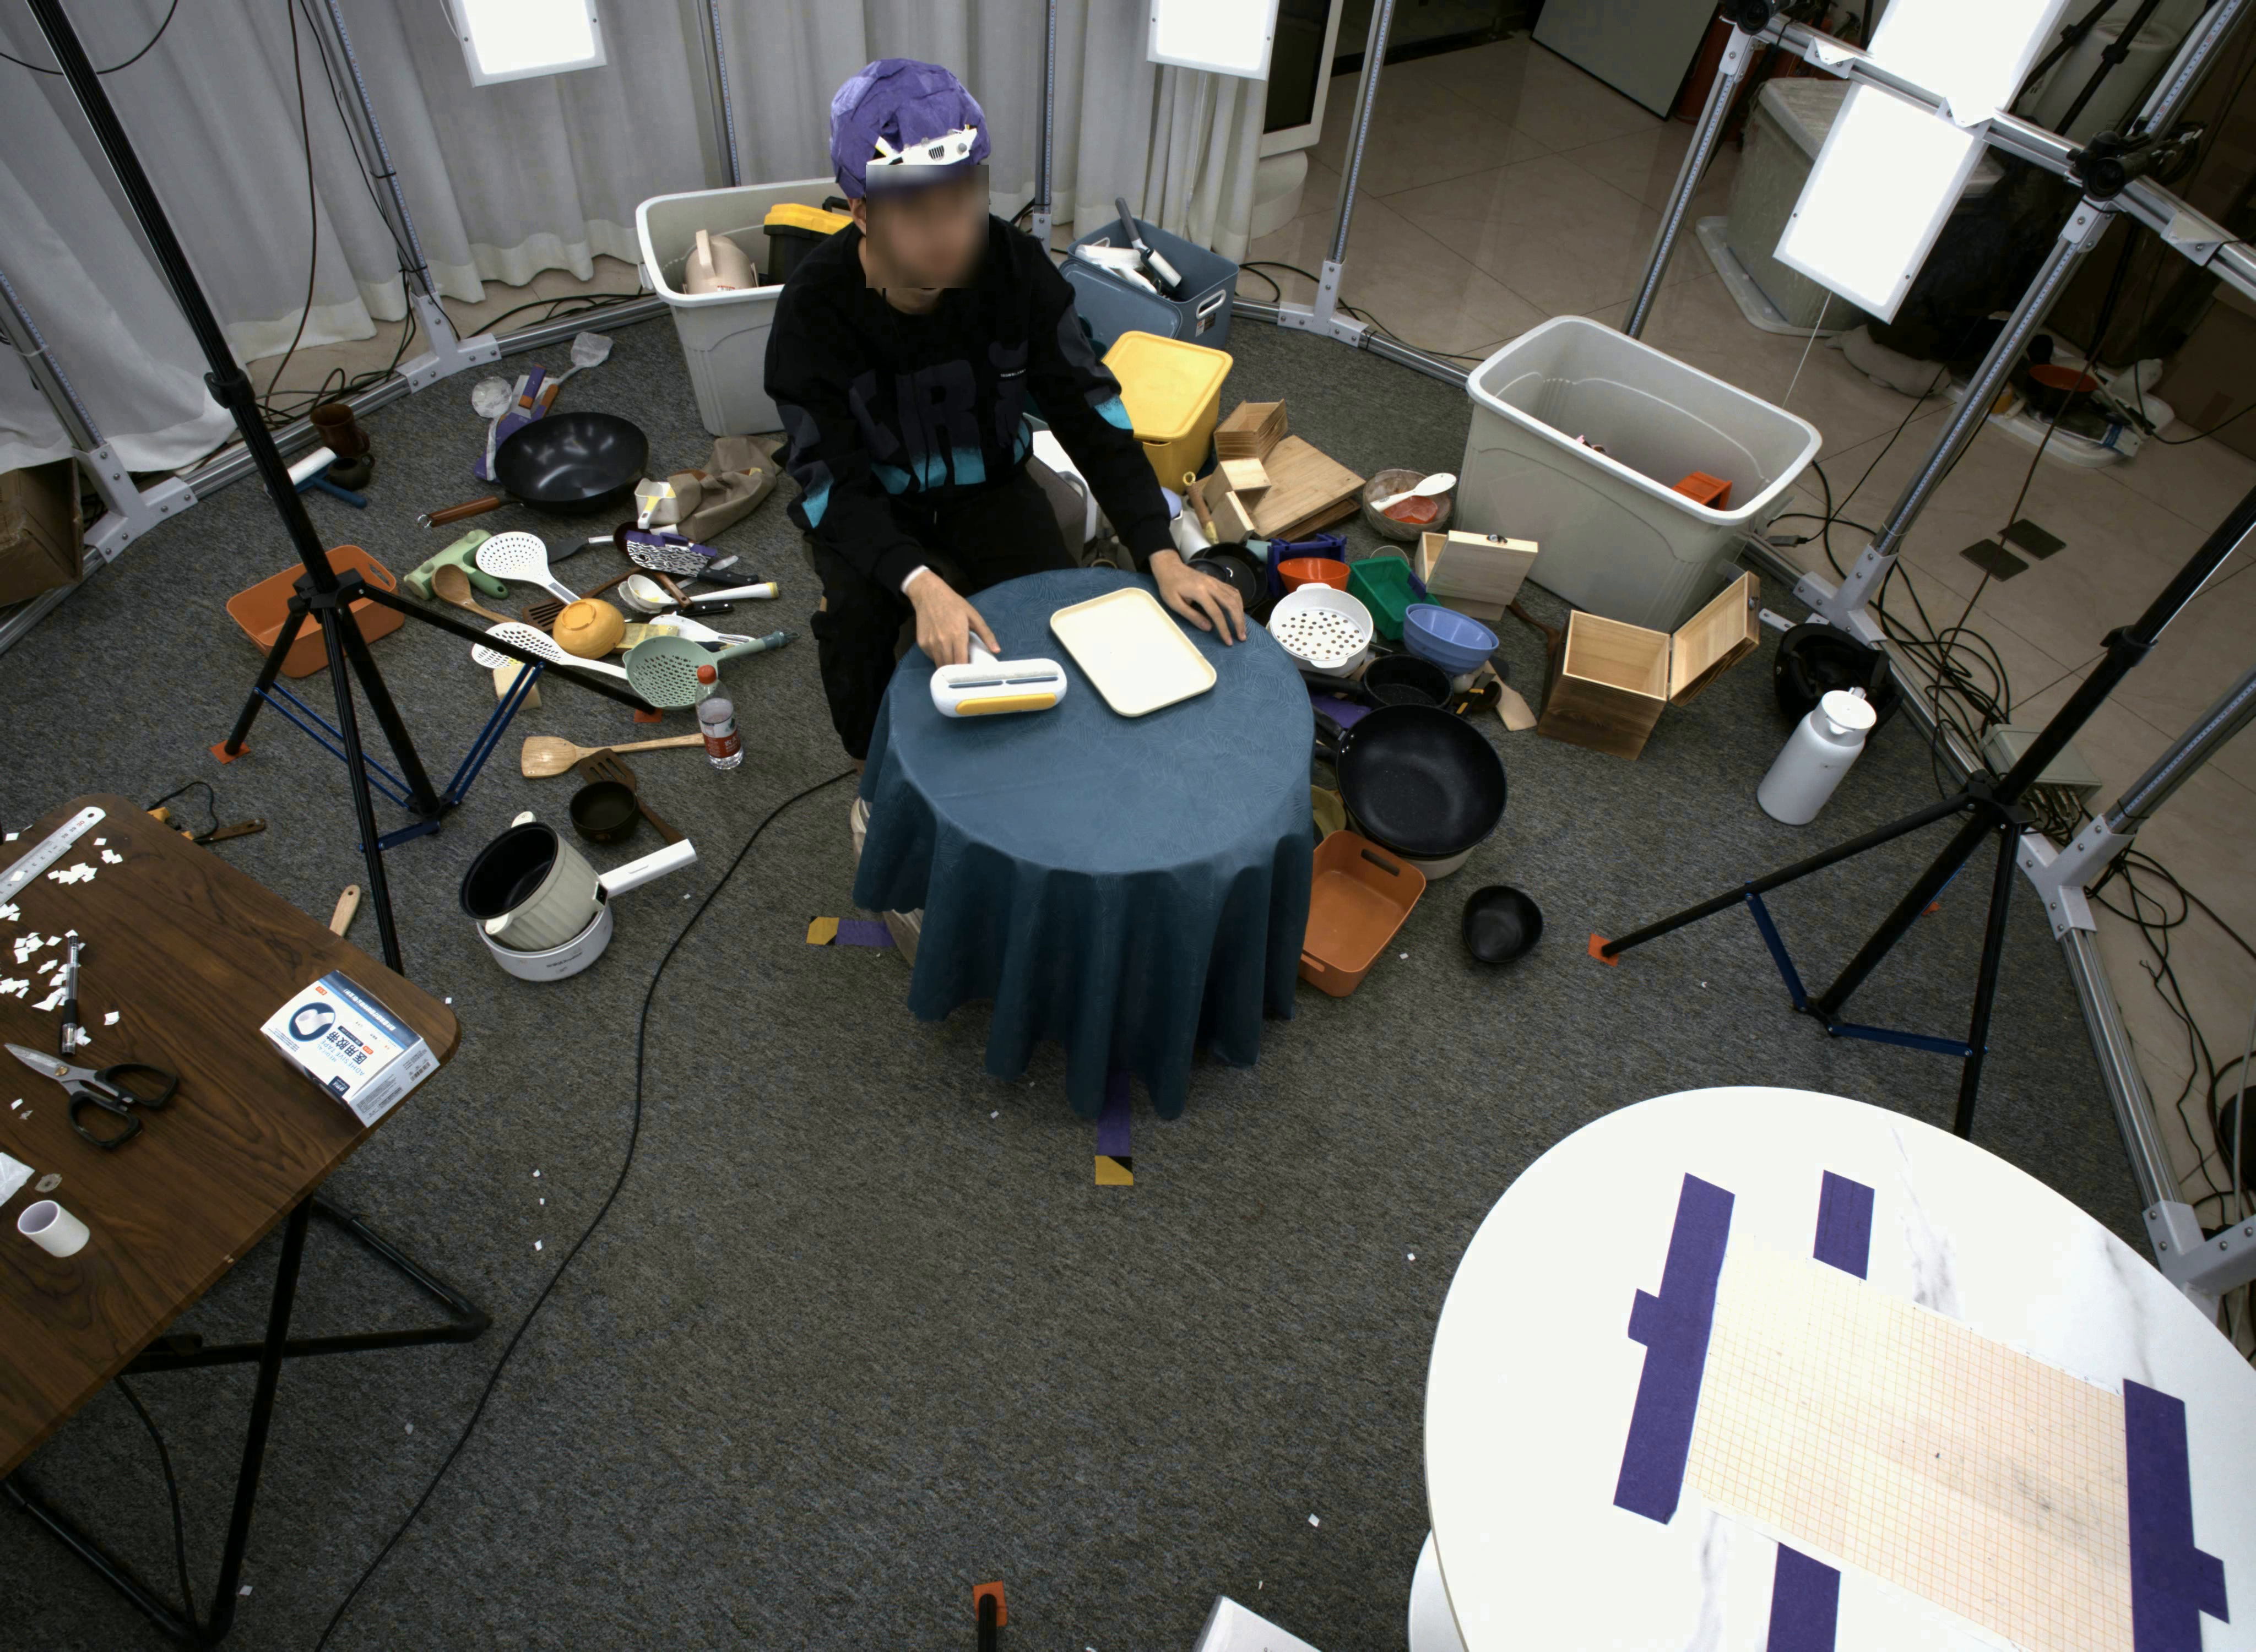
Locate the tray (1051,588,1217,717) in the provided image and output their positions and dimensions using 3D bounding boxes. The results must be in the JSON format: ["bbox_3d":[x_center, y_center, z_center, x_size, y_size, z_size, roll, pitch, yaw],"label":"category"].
[{"bbox_3d":[0.006,-0.256,1.879,0.172,0.017,0.245,-21,54,-20],"label":"tray"}]

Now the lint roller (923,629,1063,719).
[{"bbox_3d":[-0.203,-0.227,1.808,0.192,0.072,0.197,-7,48,-19],"label":"lint roller"}]
